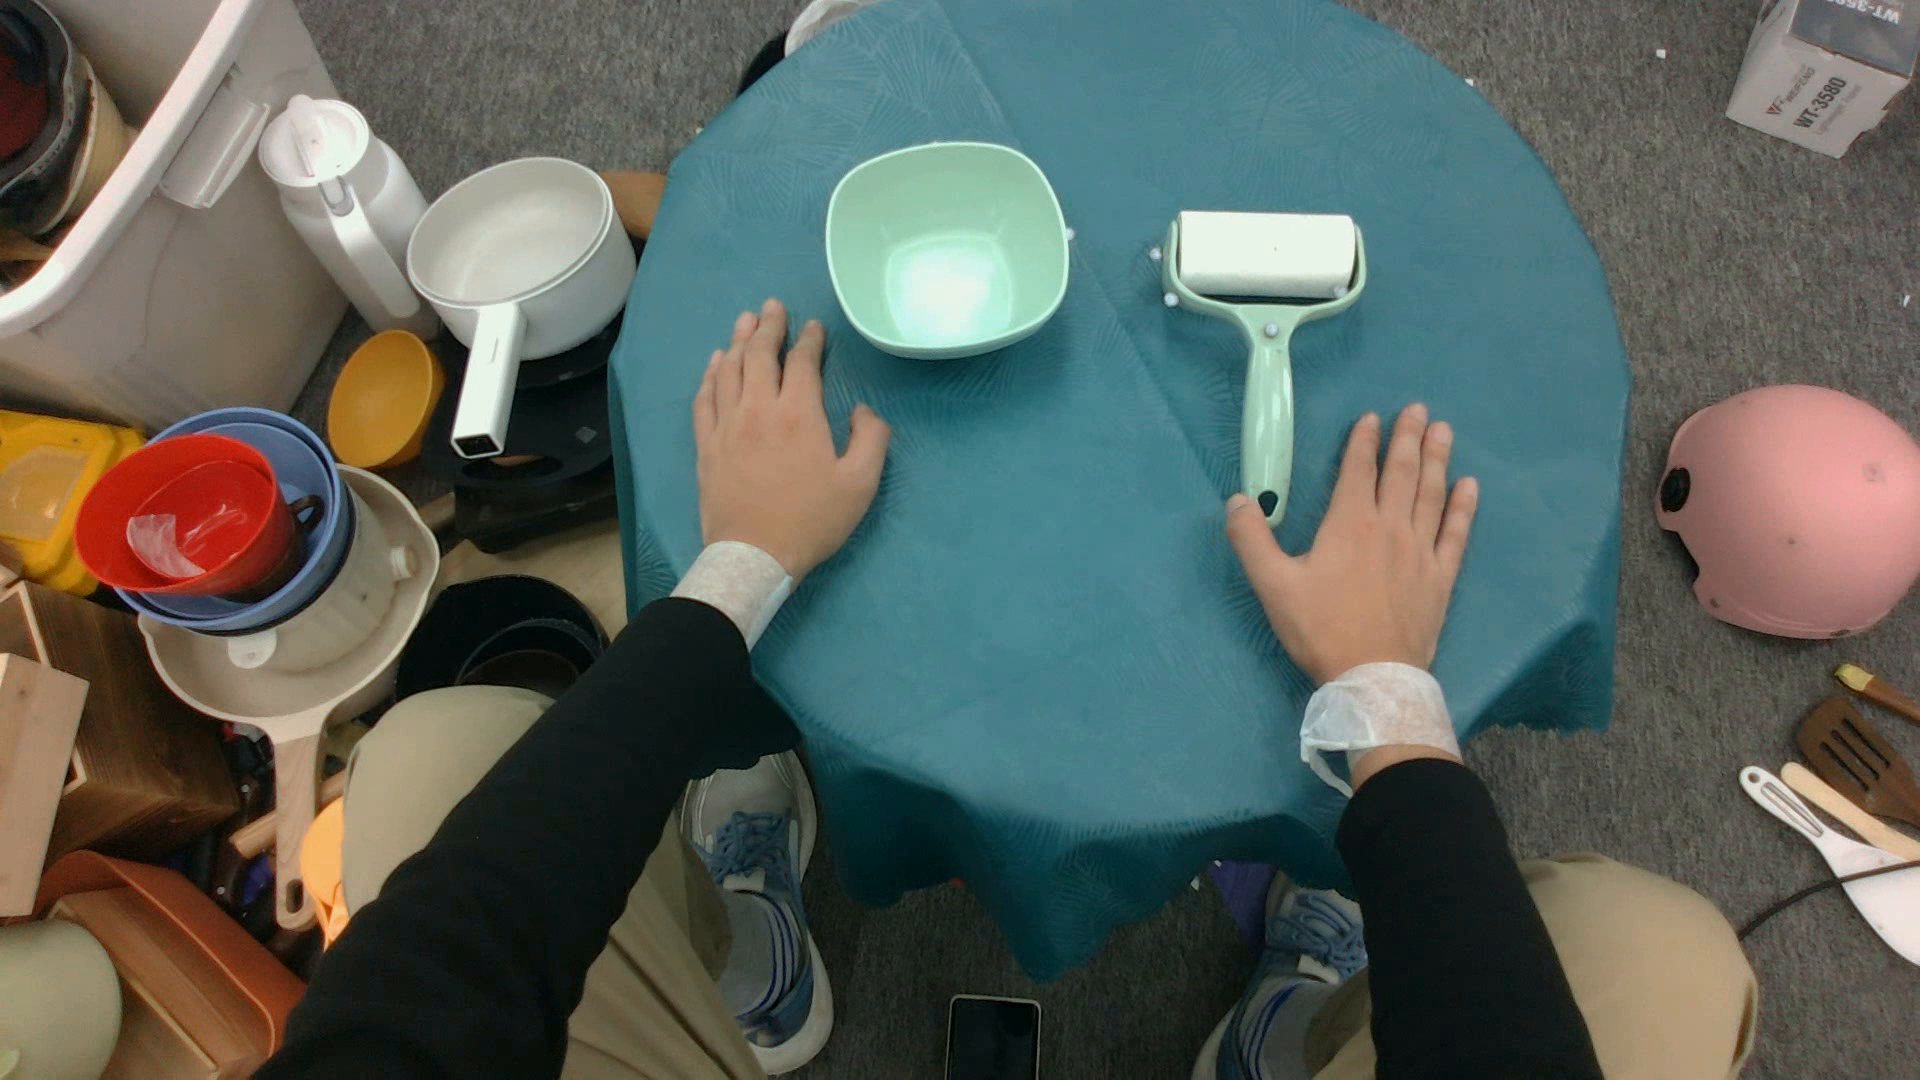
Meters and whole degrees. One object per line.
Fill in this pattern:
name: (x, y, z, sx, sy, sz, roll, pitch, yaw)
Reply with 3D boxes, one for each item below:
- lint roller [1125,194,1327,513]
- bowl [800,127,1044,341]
lint roller: (0.155, -0.114, 0.799, 0.116, 0.048, 0.198, 2, 70, -1)
bowl: (-0.022, -0.170, 0.813, 0.151, 0.058, 0.152, 1, 67, -1)
